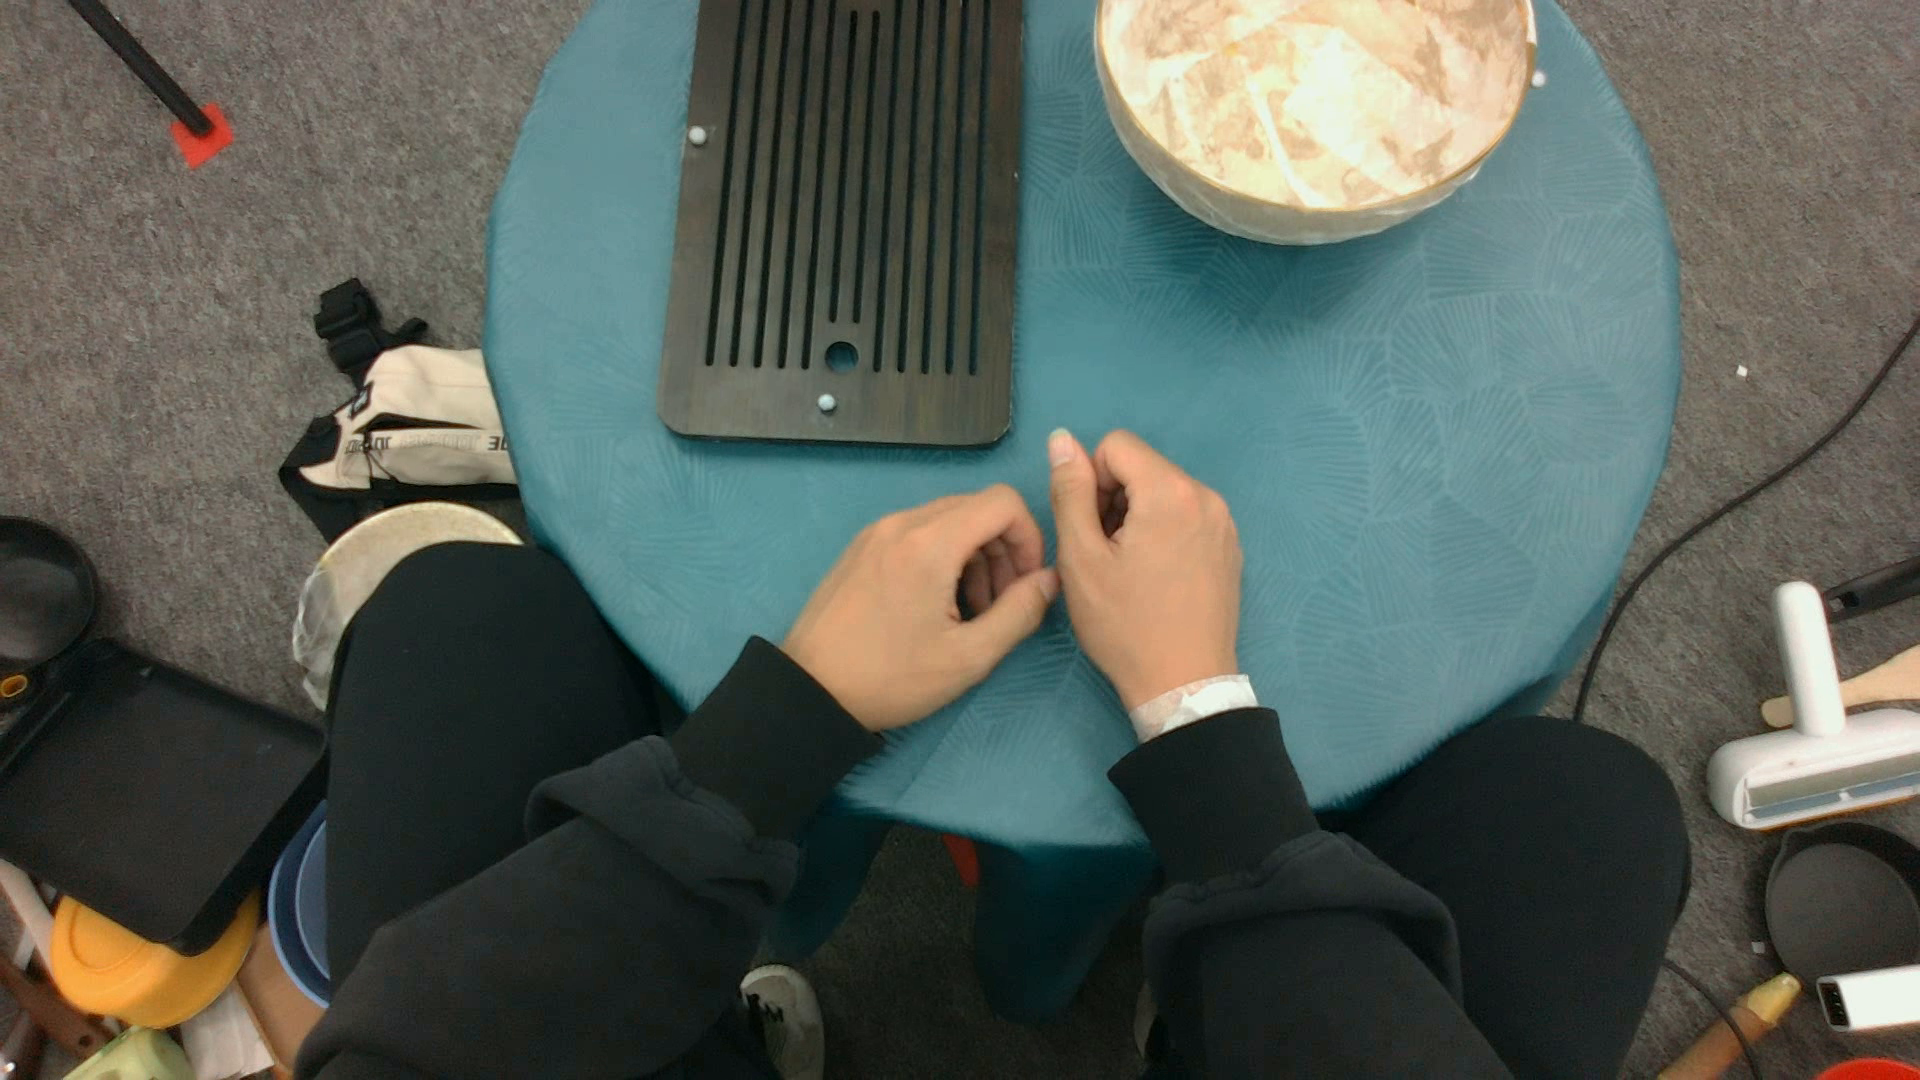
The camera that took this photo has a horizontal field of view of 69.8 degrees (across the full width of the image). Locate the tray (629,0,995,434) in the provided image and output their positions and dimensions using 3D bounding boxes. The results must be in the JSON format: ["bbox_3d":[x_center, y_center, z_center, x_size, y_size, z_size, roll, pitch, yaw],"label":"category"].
[{"bbox_3d":[-0.069,-0.197,0.702,0.170,0.018,0.307,2,72,-1],"label":"tray"}]

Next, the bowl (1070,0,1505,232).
[{"bbox_3d":[0.148,-0.232,0.679,0.215,0.094,0.215,1,73,-2],"label":"bowl"}]
